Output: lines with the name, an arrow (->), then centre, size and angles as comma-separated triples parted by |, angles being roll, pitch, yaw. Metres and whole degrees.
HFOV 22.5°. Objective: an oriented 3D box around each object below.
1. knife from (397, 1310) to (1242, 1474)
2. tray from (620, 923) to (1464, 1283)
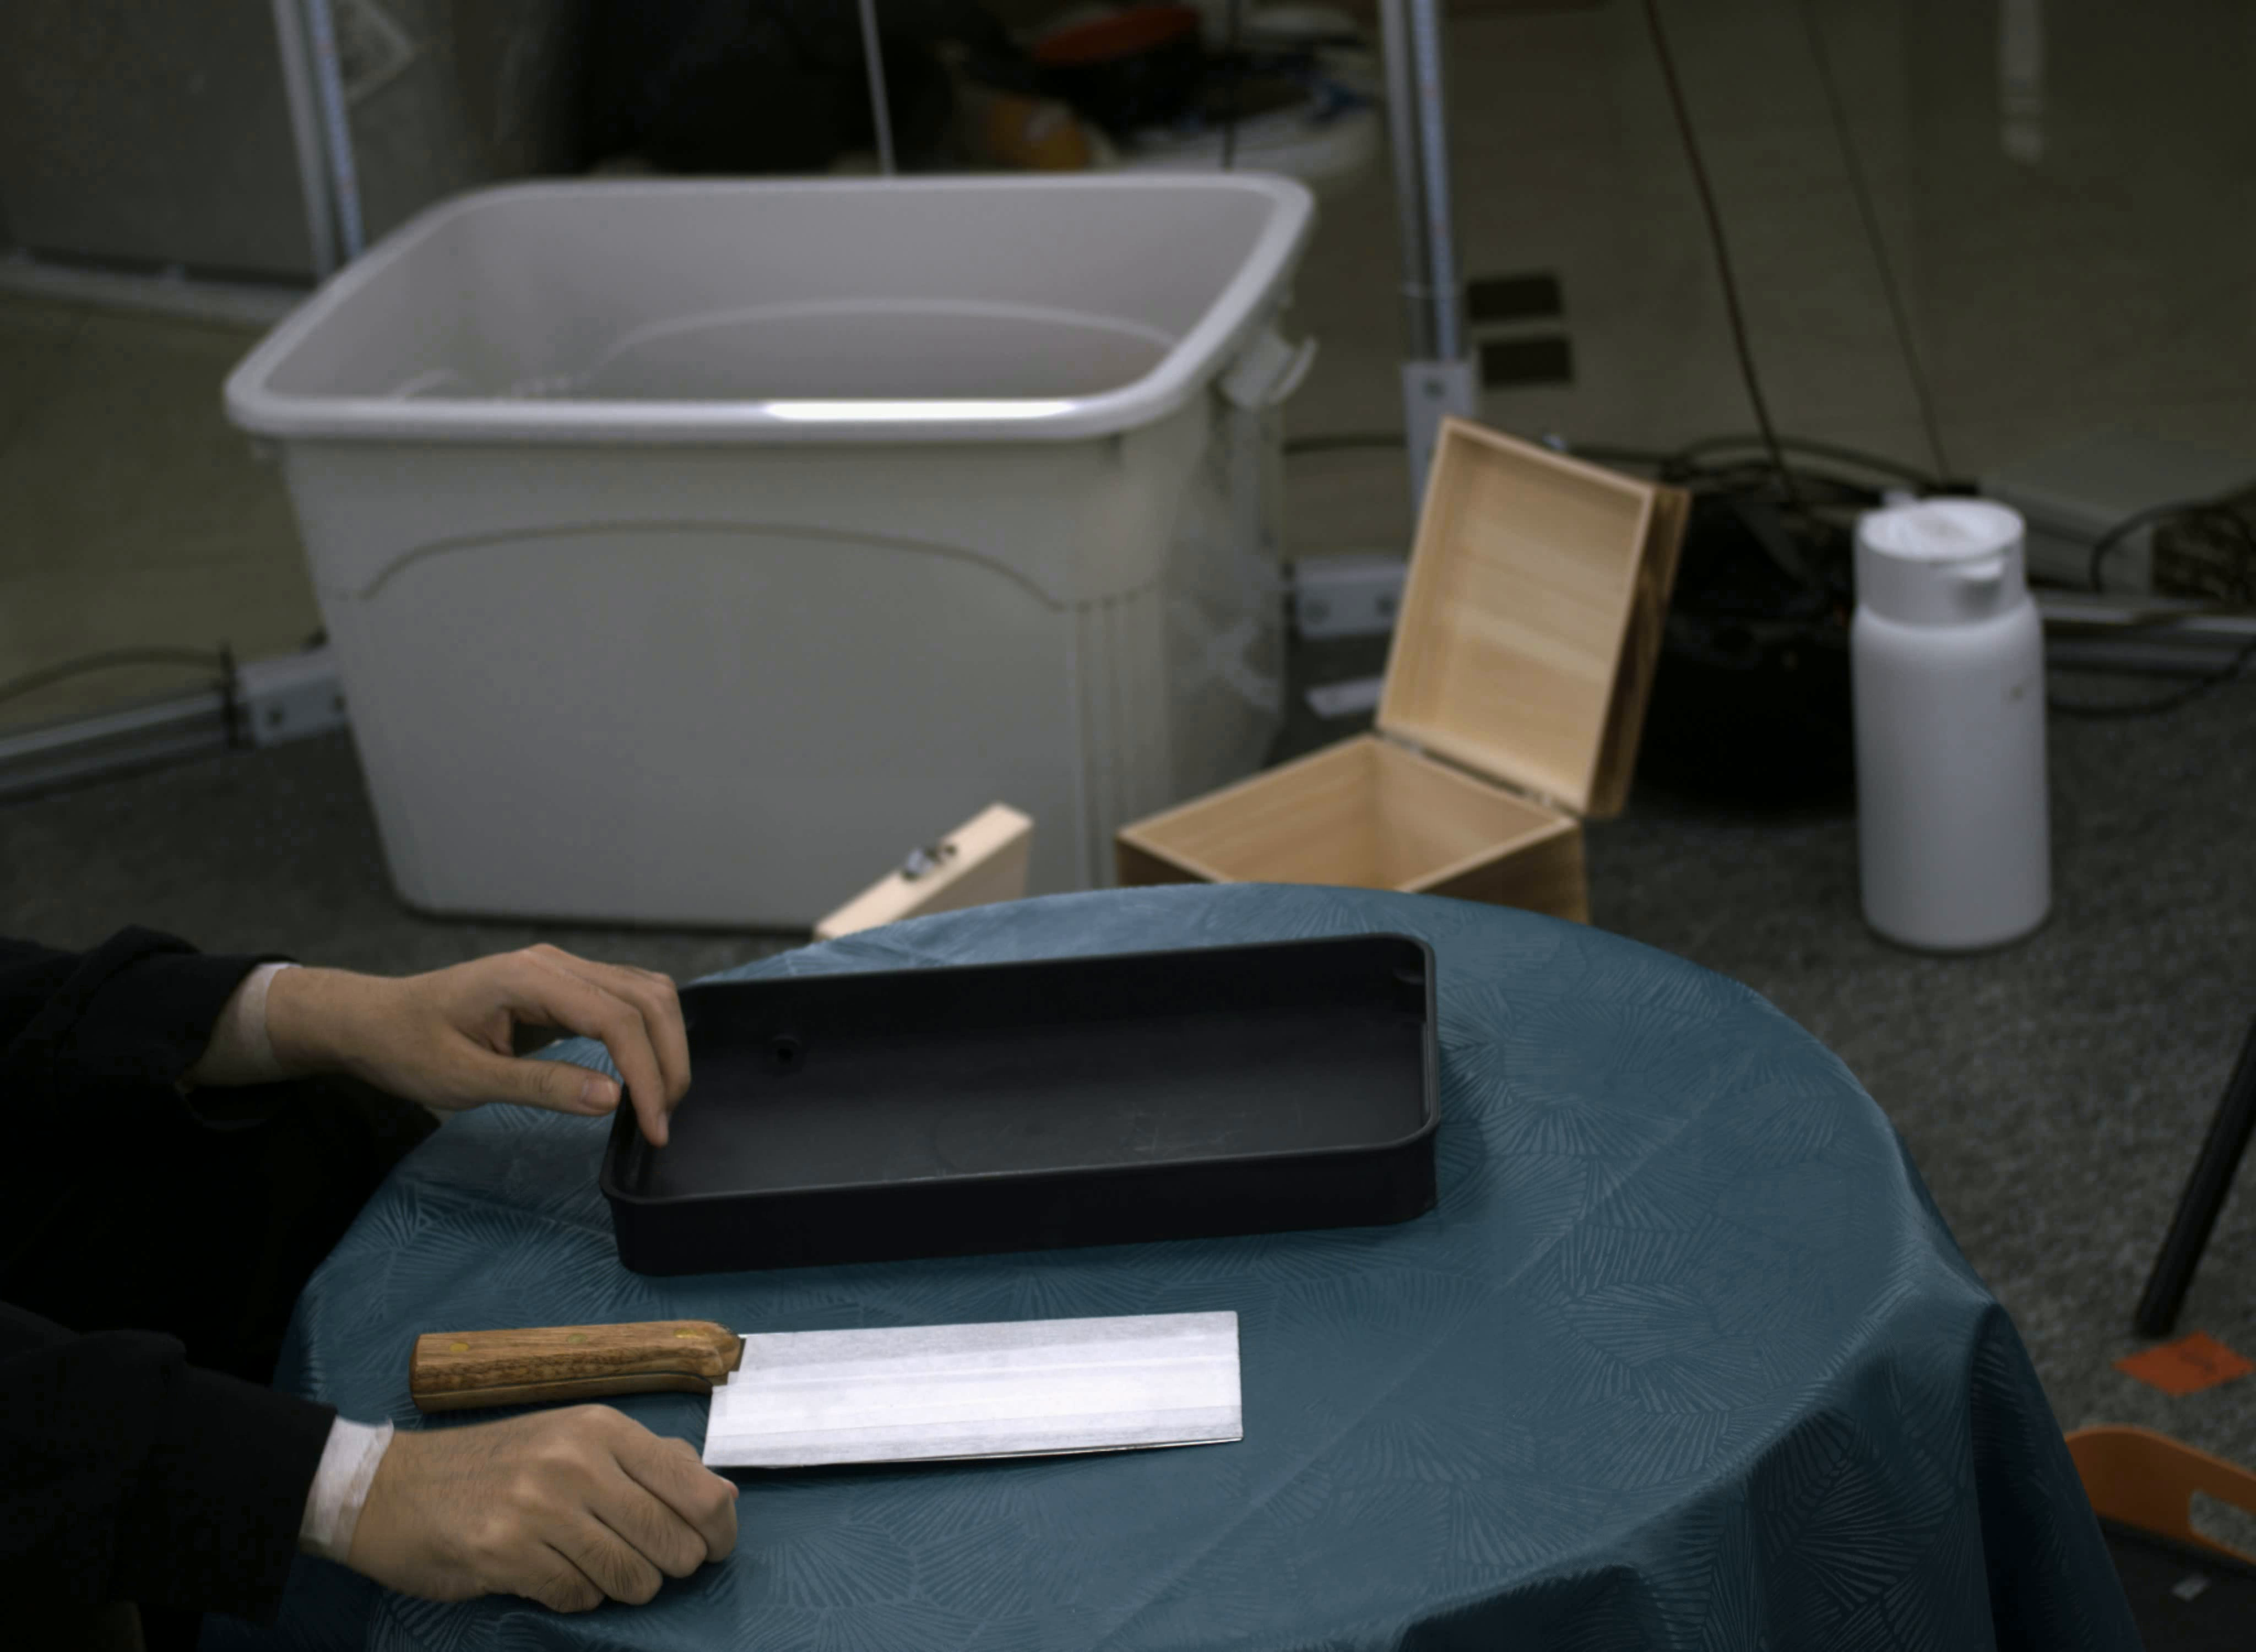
knife -> -0.112, 0.202, 2.021 | 0.305, 0.021, 0.091 | -3, 26, 1
tray -> -0.031, 0.105, 2.184 | 0.317, 0.037, 0.181 | -5, 25, 3
